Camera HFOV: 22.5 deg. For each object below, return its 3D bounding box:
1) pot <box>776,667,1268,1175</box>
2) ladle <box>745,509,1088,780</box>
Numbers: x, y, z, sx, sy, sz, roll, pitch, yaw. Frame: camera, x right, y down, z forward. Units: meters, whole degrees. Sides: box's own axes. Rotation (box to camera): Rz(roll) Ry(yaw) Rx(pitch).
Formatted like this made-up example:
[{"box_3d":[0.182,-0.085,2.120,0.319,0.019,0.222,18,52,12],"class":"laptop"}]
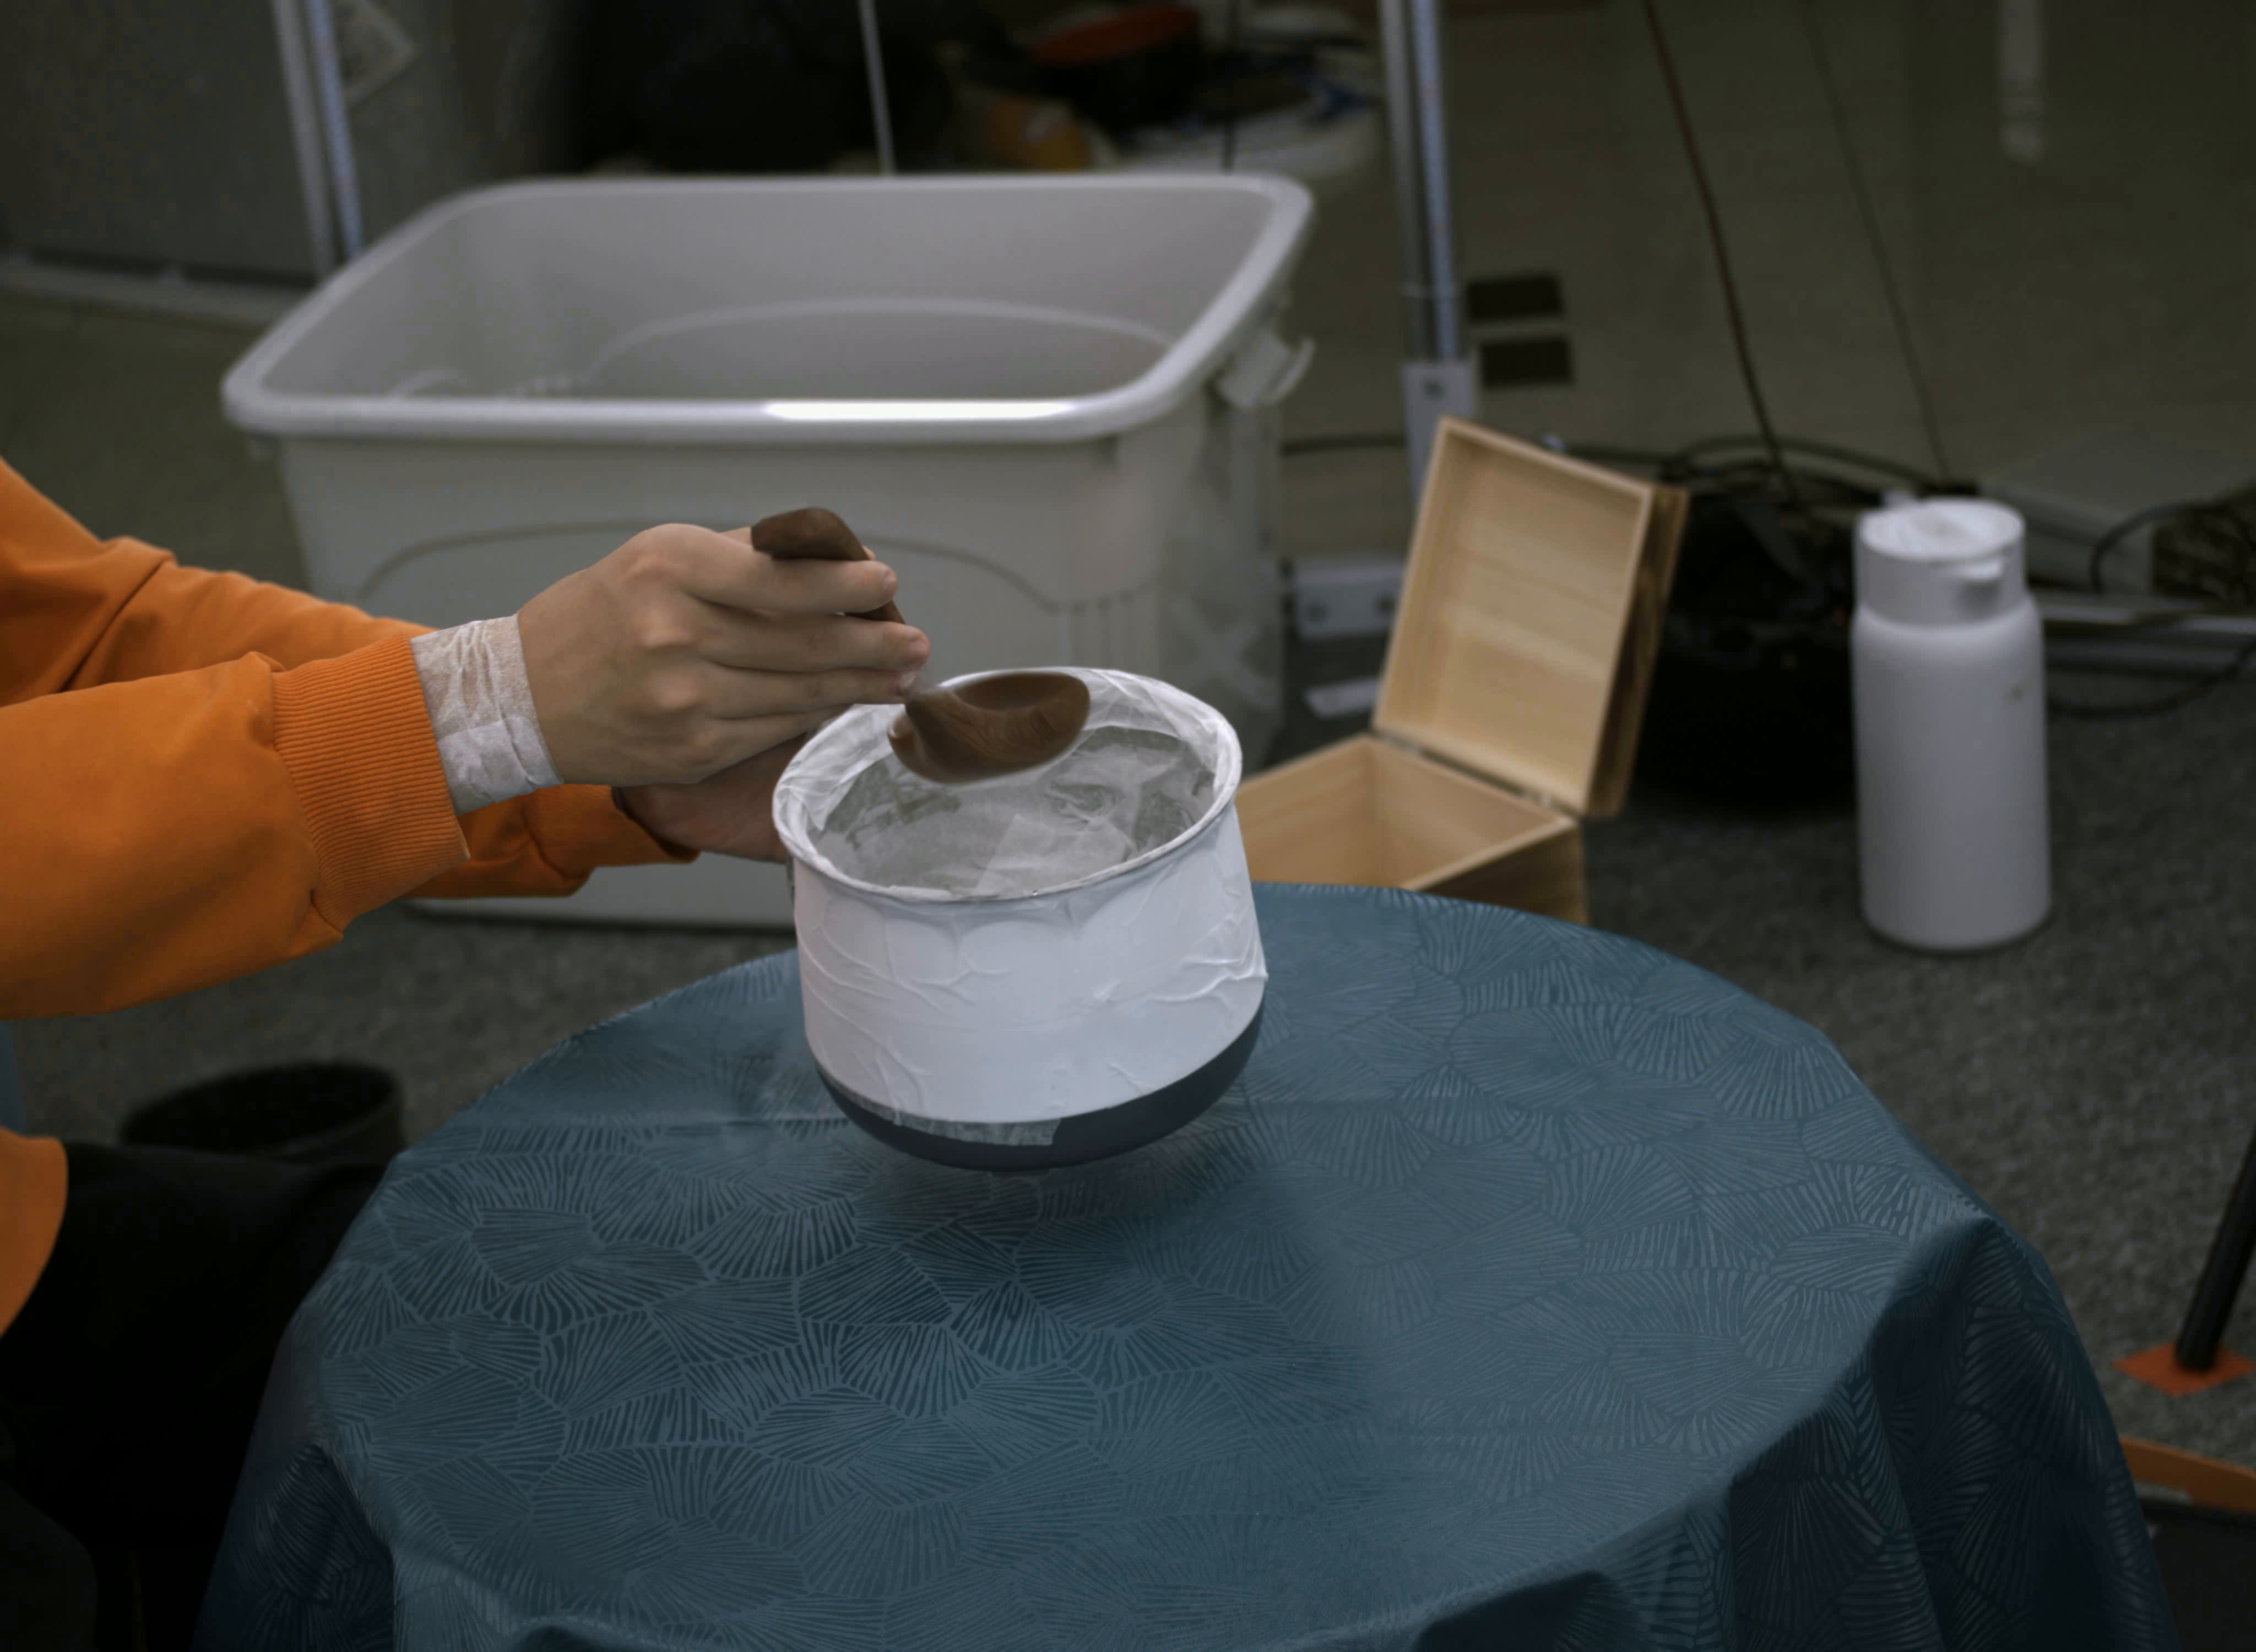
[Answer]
[{"box_3d":[-0.055,0.028,2.158,0.177,0.139,0.231,-26,35,-32],"class":"pot"},{"box_3d":[-0.081,-0.075,1.955,0.076,0.263,0.064,-15,66,13],"class":"ladle"}]
